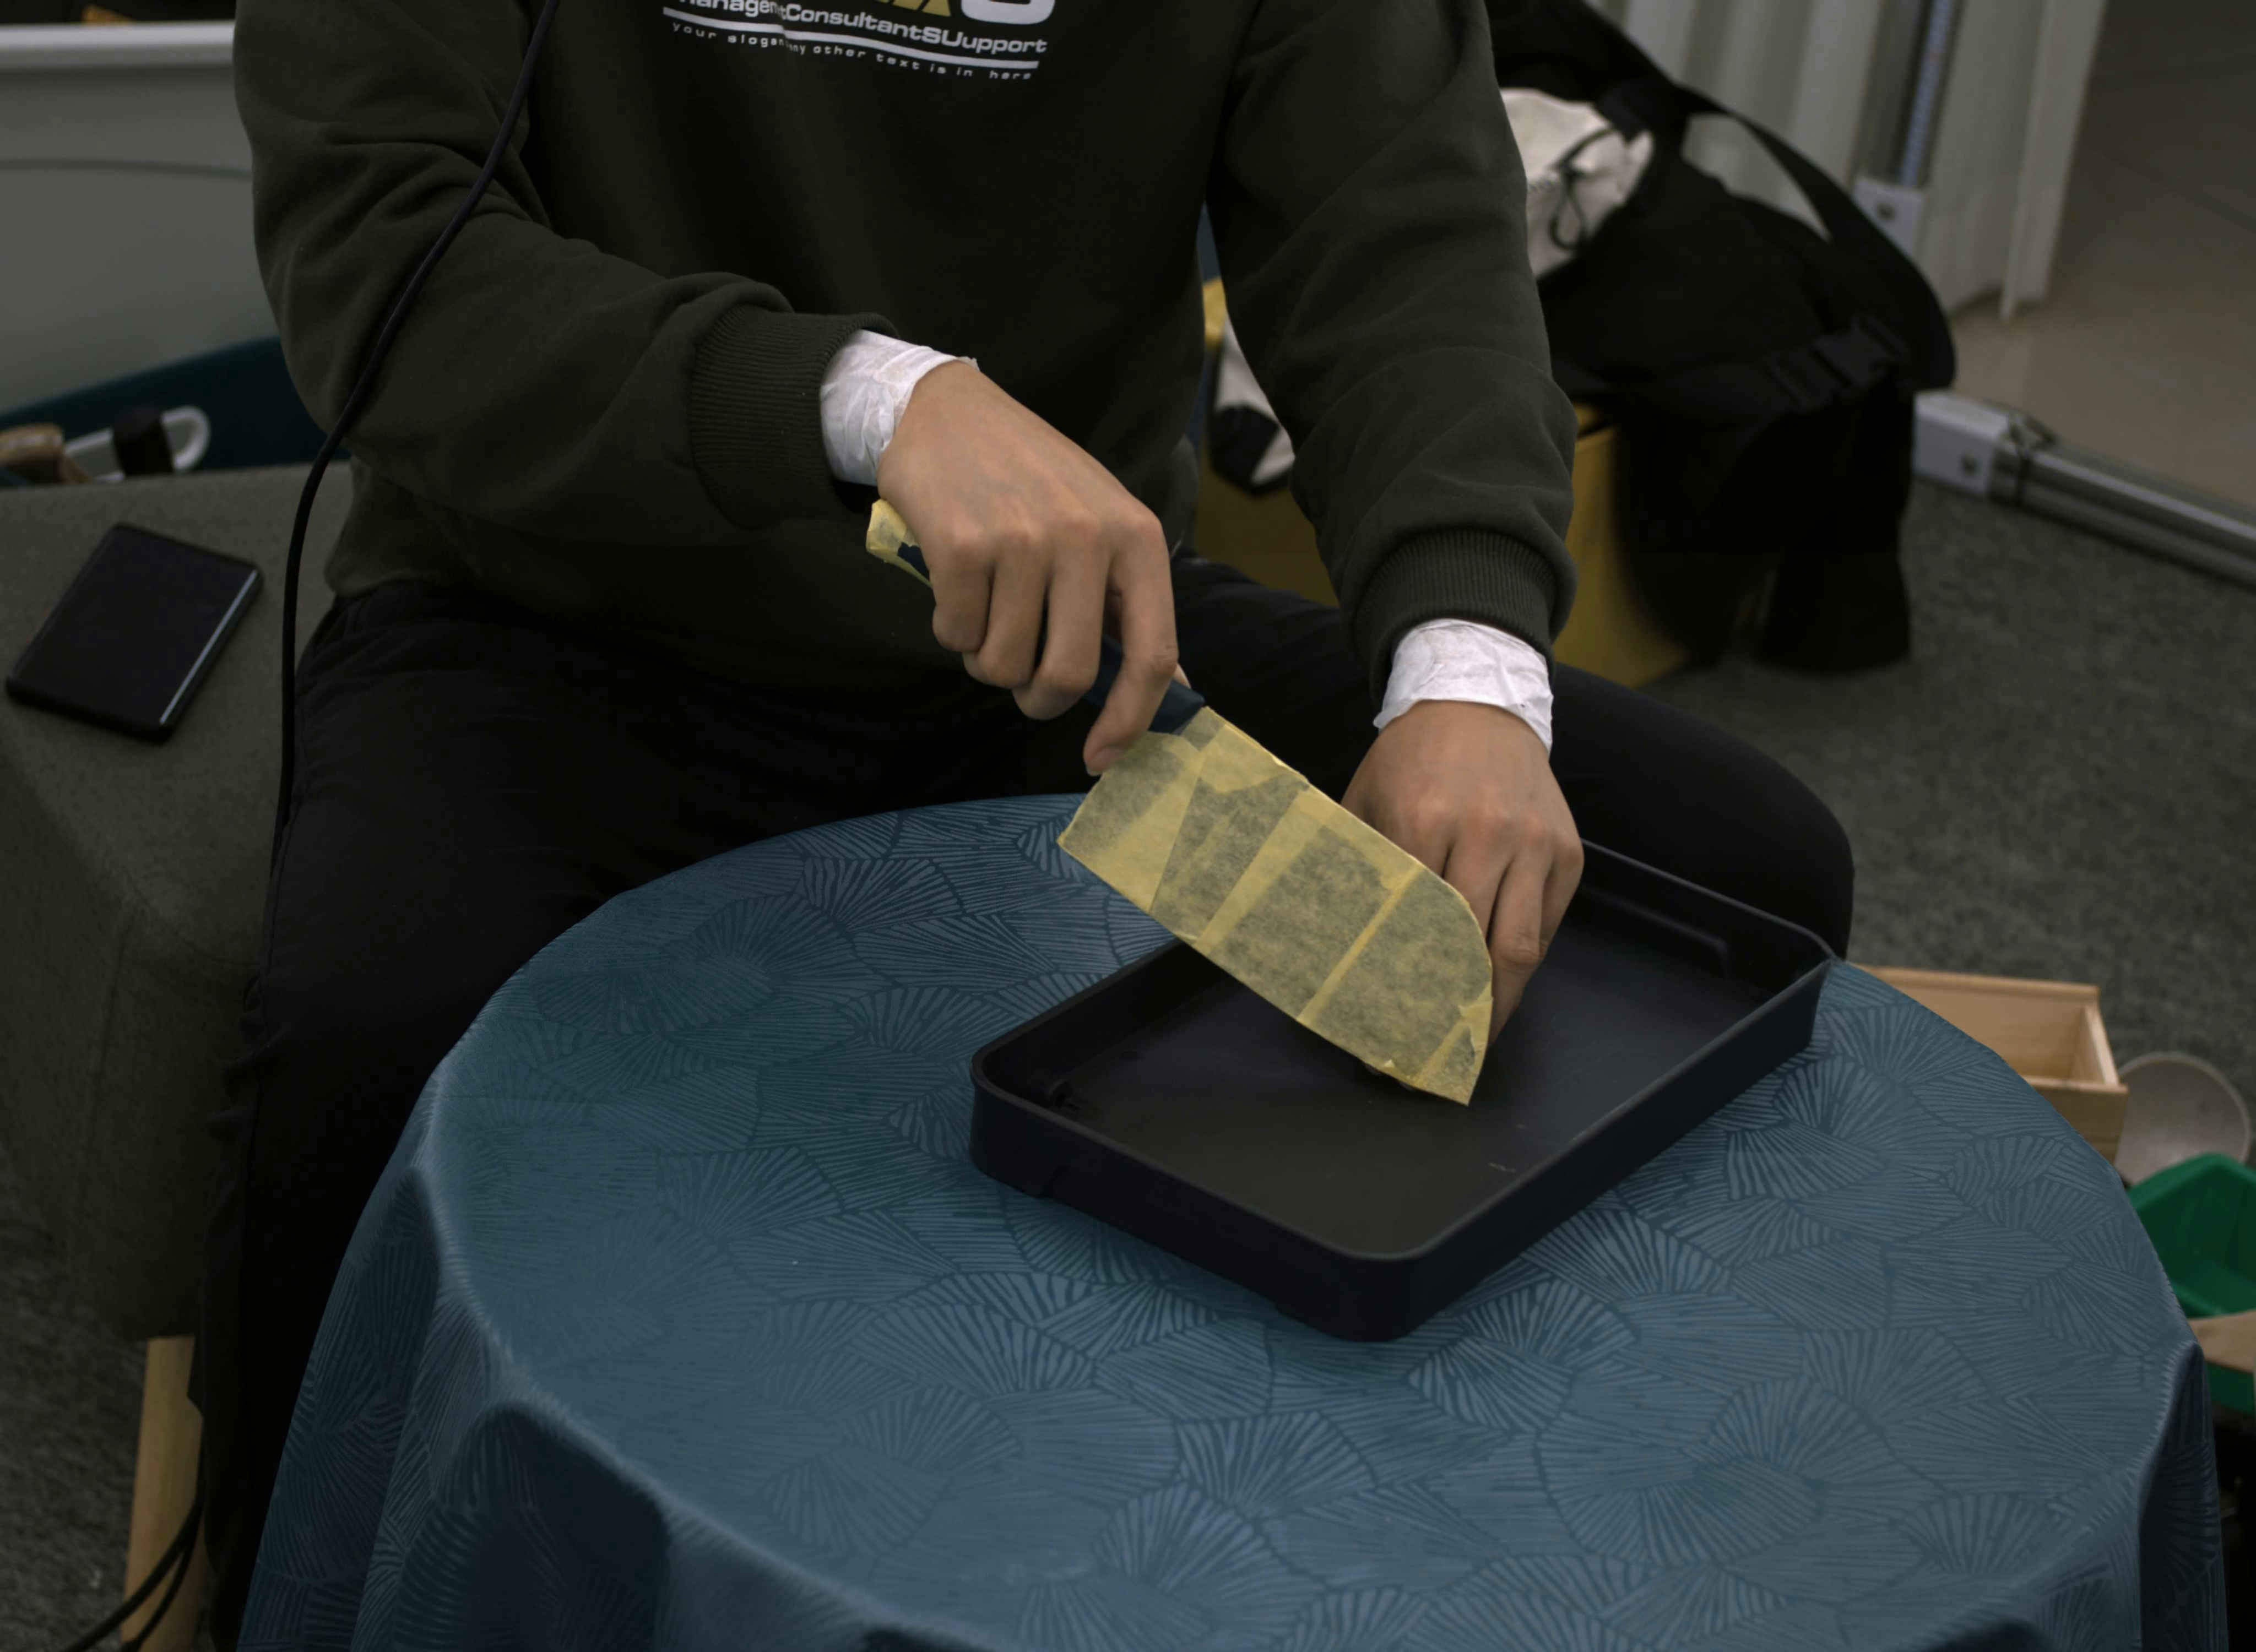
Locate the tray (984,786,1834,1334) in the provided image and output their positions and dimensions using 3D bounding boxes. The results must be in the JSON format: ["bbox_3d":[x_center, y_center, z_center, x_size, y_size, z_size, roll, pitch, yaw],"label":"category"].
[{"bbox_3d":[0.103,0.076,1.882,0.185,0.037,0.317,22,30,27],"label":"tray"}]

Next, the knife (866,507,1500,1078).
[{"bbox_3d":[0.015,-0.010,1.873,0.289,0.081,0.027,39,9,3],"label":"knife"}]
